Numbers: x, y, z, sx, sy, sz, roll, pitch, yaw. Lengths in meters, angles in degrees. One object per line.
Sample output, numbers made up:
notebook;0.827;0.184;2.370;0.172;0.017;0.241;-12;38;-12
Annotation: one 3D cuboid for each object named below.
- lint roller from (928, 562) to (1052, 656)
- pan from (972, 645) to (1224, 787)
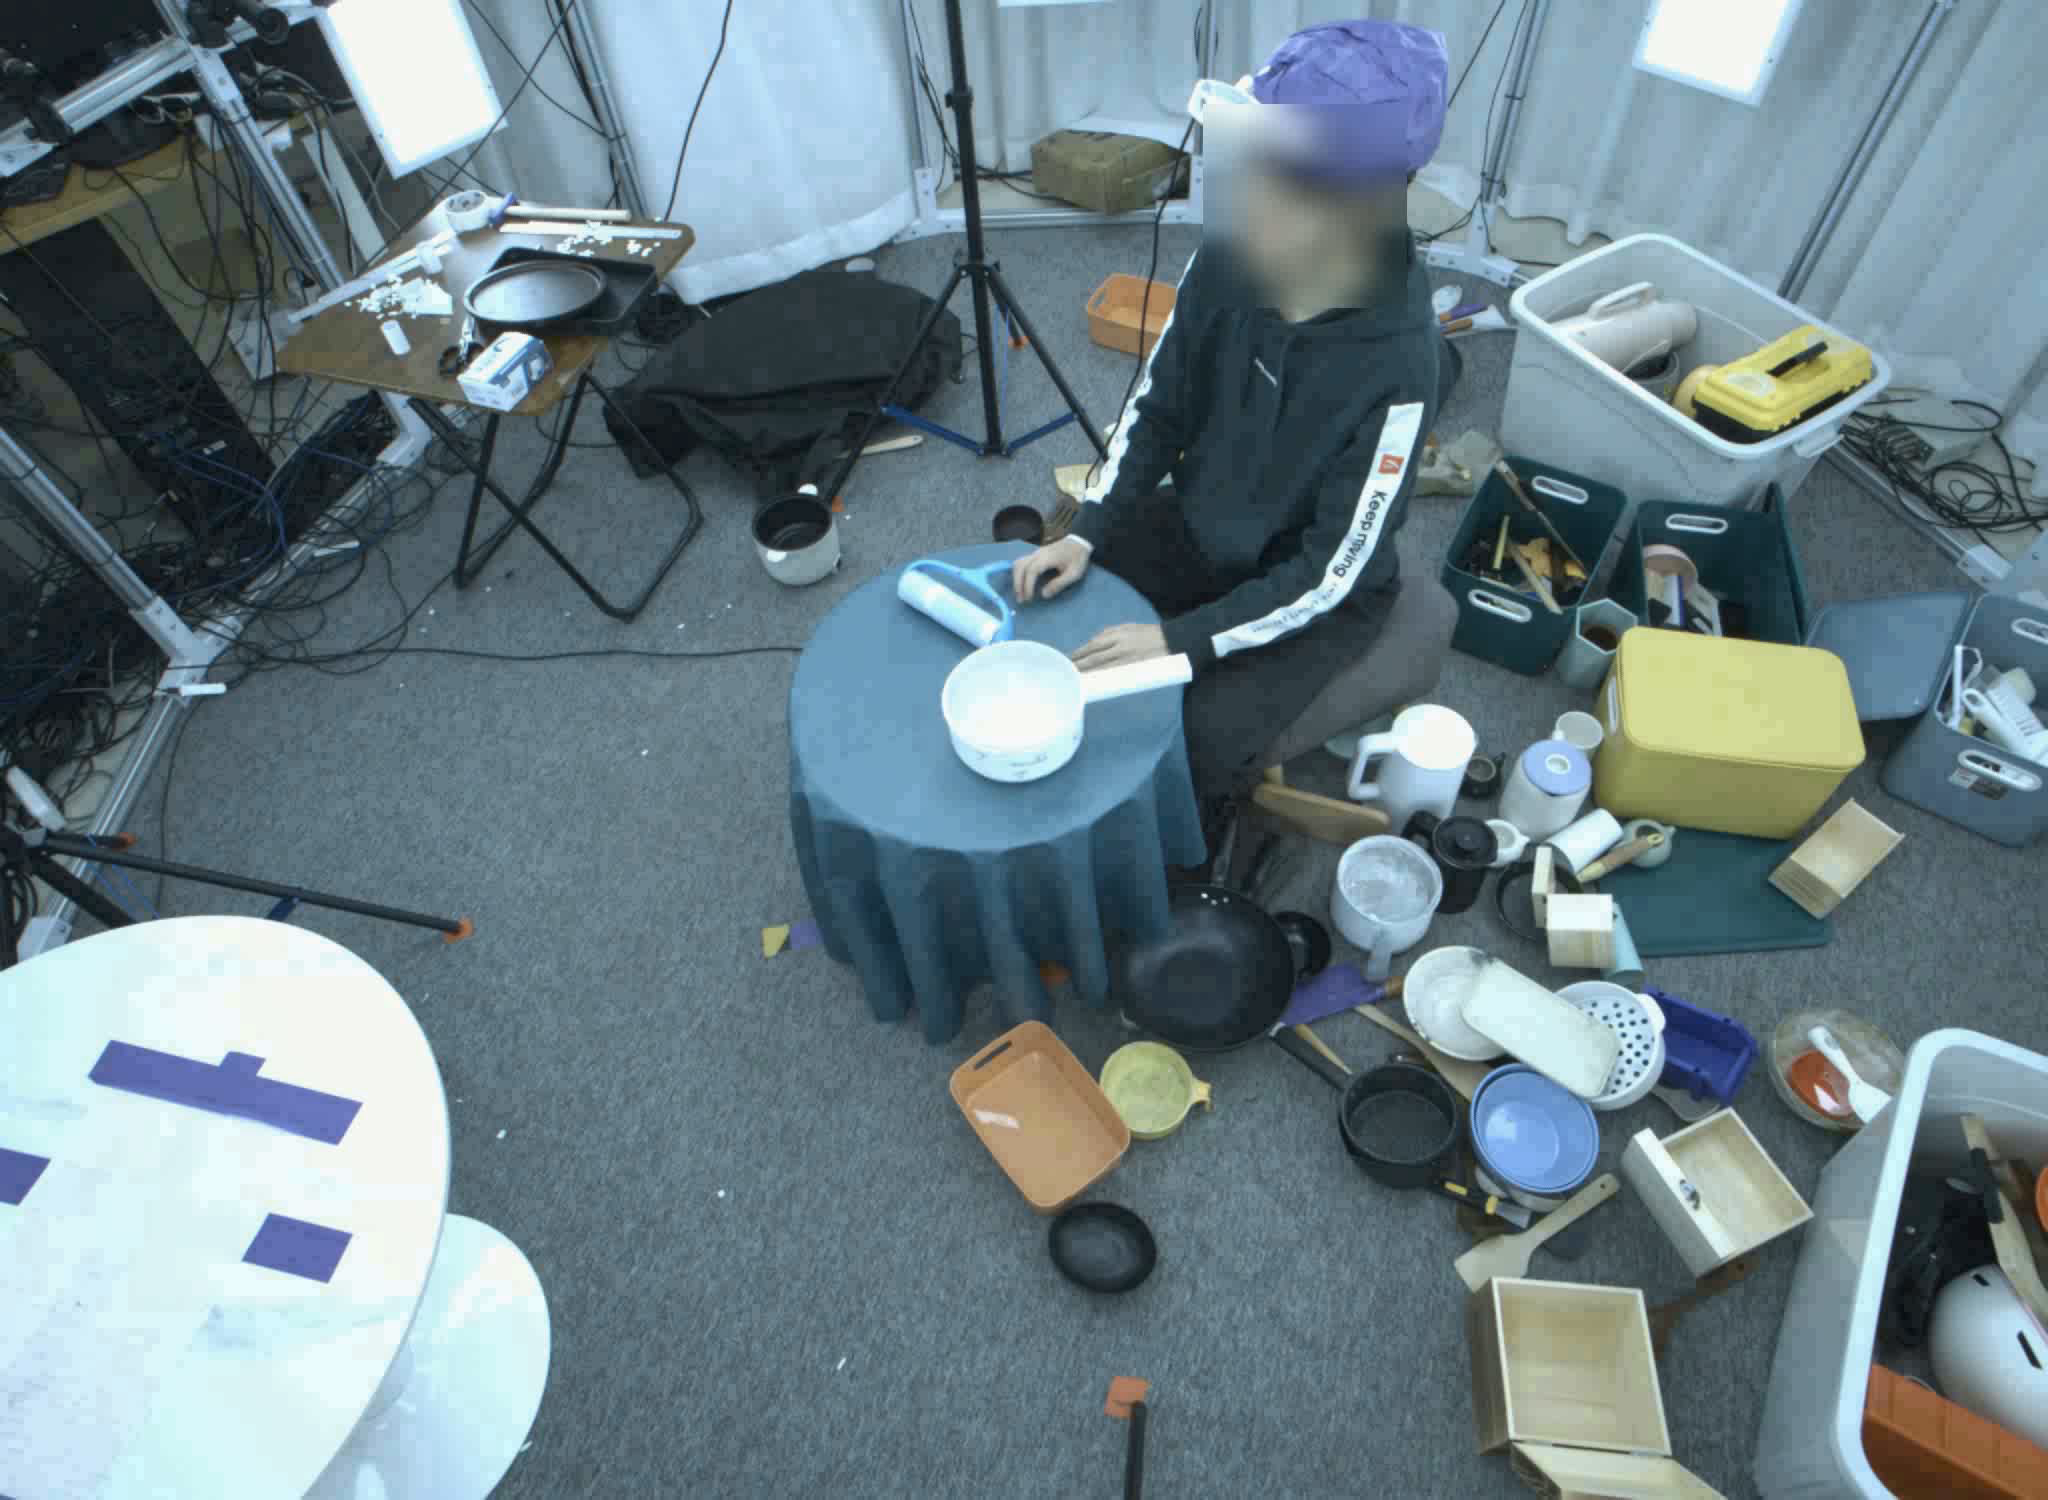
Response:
lint roller;-0.025;-0.250;1.926;0.225;0.069;0.181;32;63;24
pan;0.106;-0.055;1.759;0.356;0.103;0.198;-9;54;-5
